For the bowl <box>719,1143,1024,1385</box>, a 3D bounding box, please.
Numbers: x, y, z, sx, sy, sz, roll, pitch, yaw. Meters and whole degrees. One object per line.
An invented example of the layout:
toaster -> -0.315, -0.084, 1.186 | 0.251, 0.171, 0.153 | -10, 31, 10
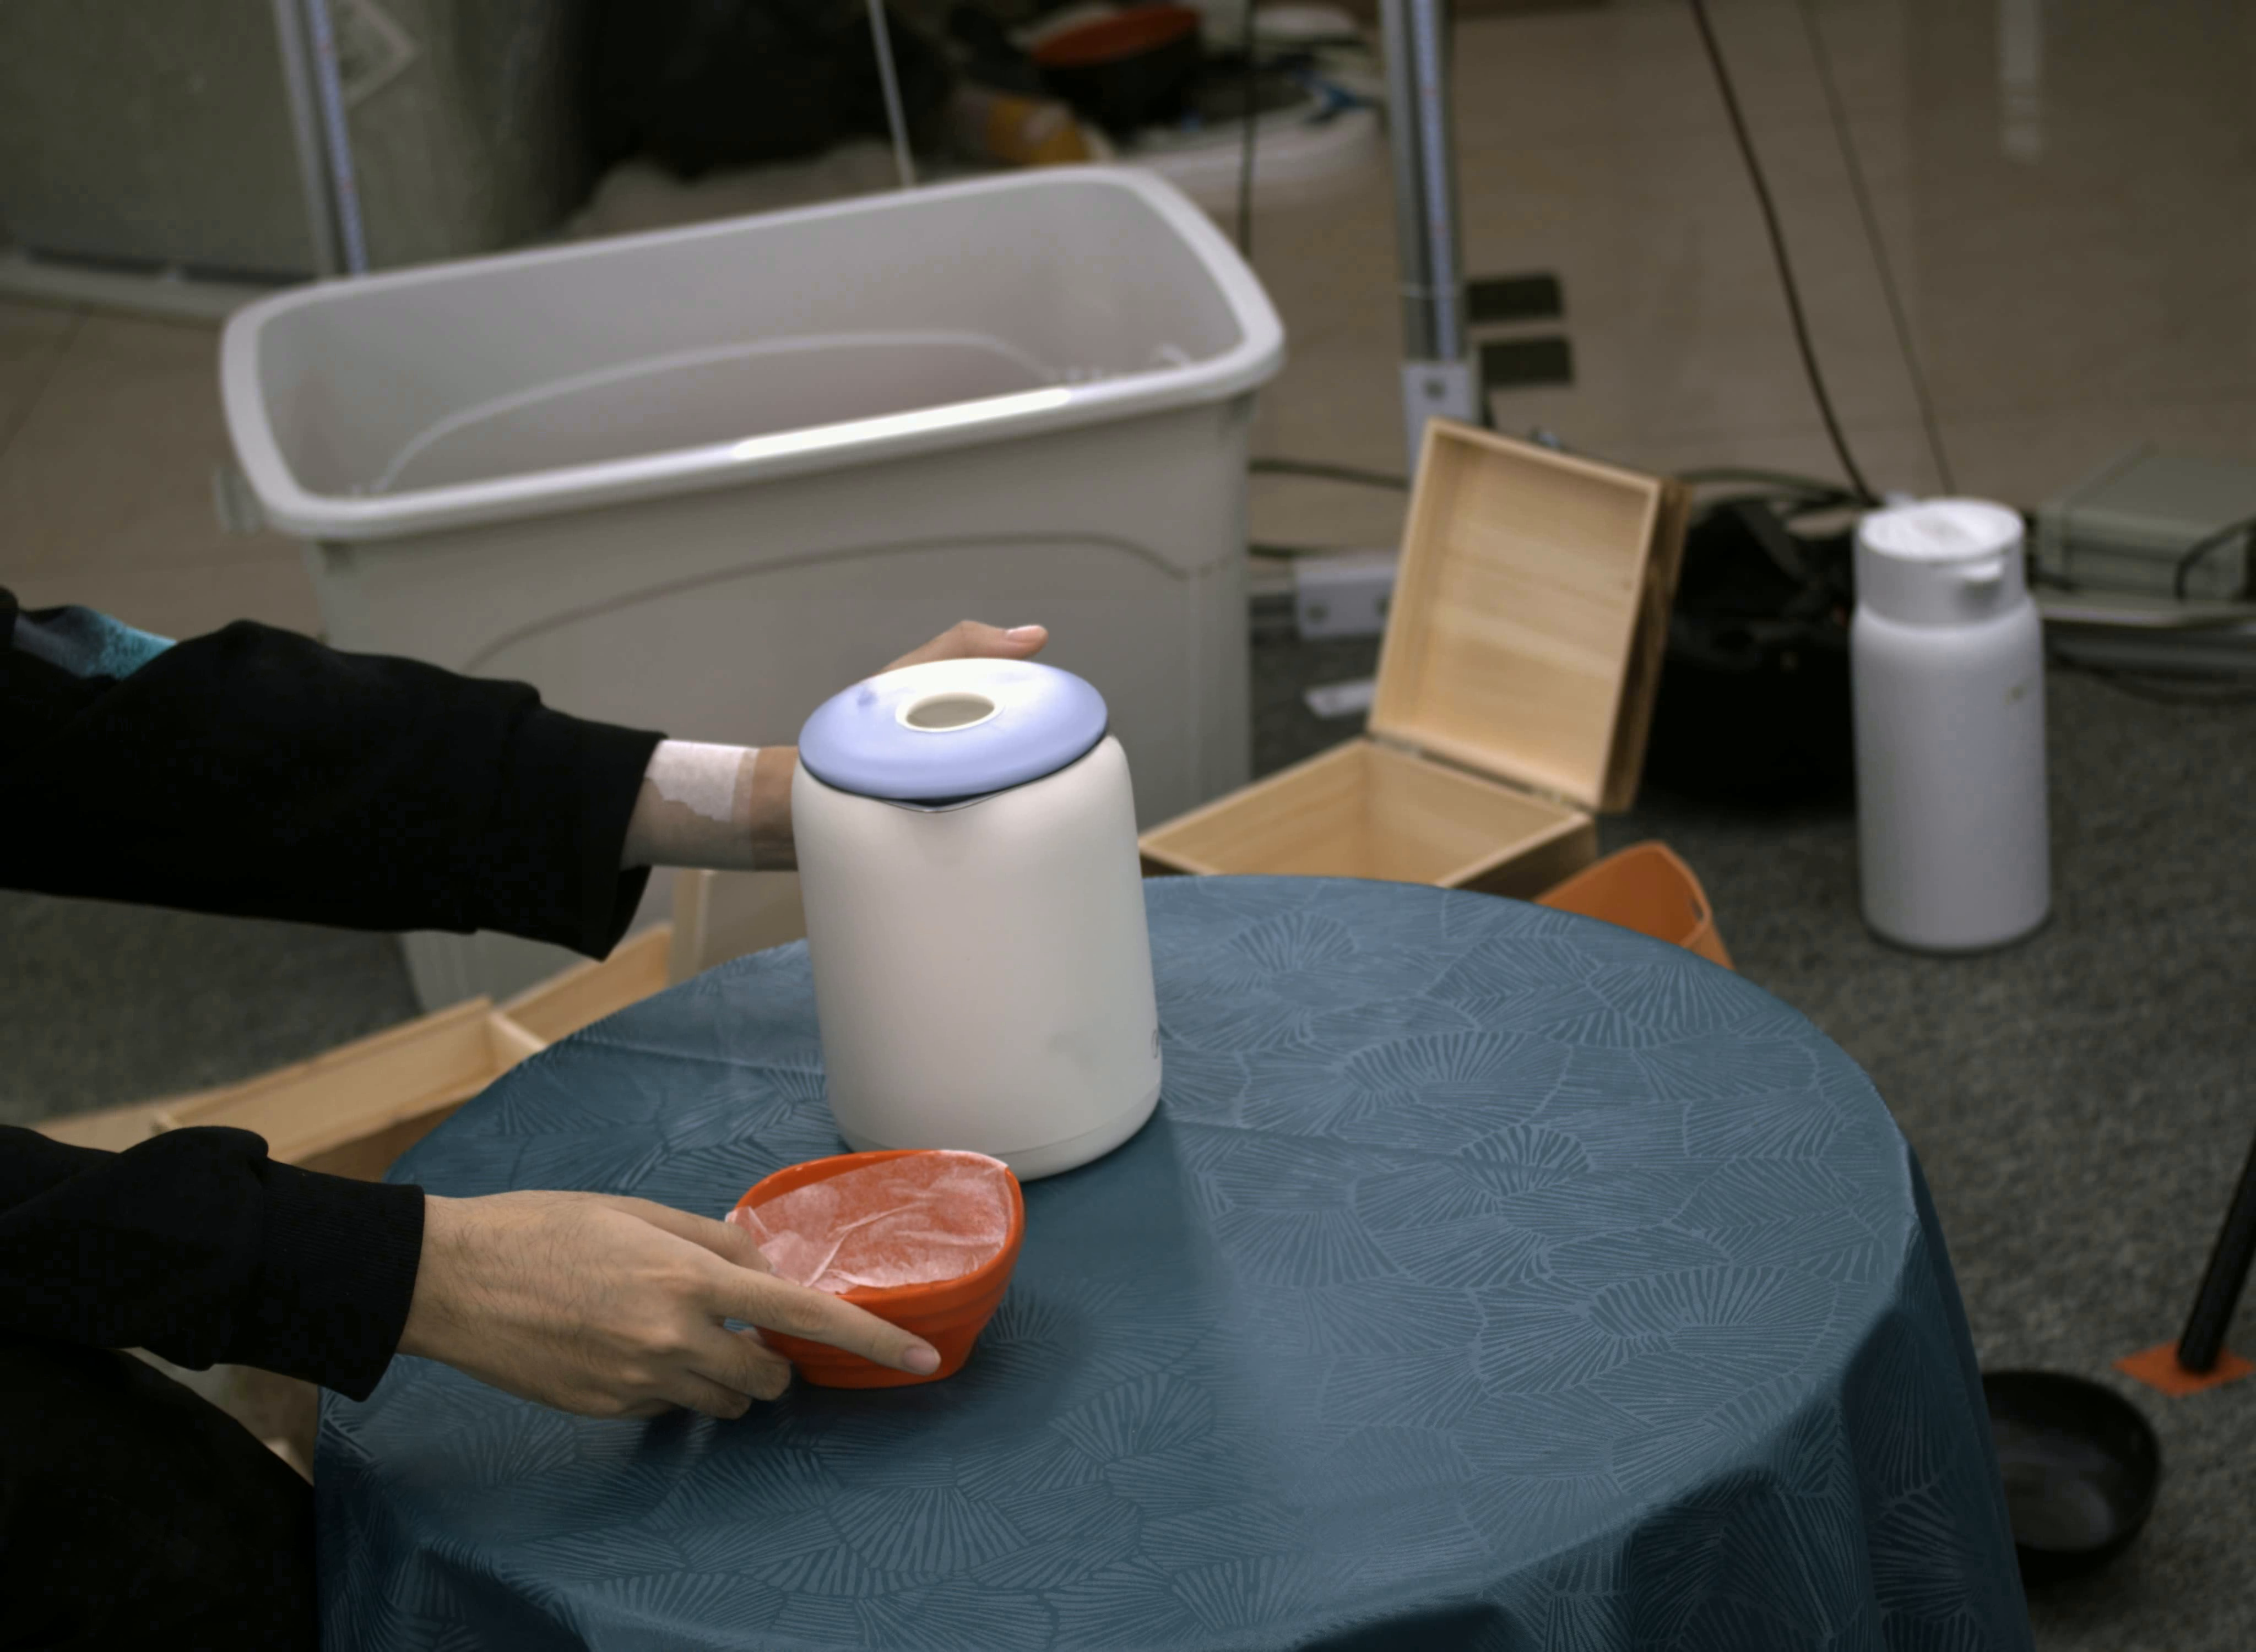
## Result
bowl -> -0.091, 0.163, 2.050 | 0.119, 0.052, 0.117 | -3, 27, 2

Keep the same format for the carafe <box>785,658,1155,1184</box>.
carafe -> -0.060, 0.027, 2.195 | 0.132, 0.185, 0.188 | -4, 23, 3
